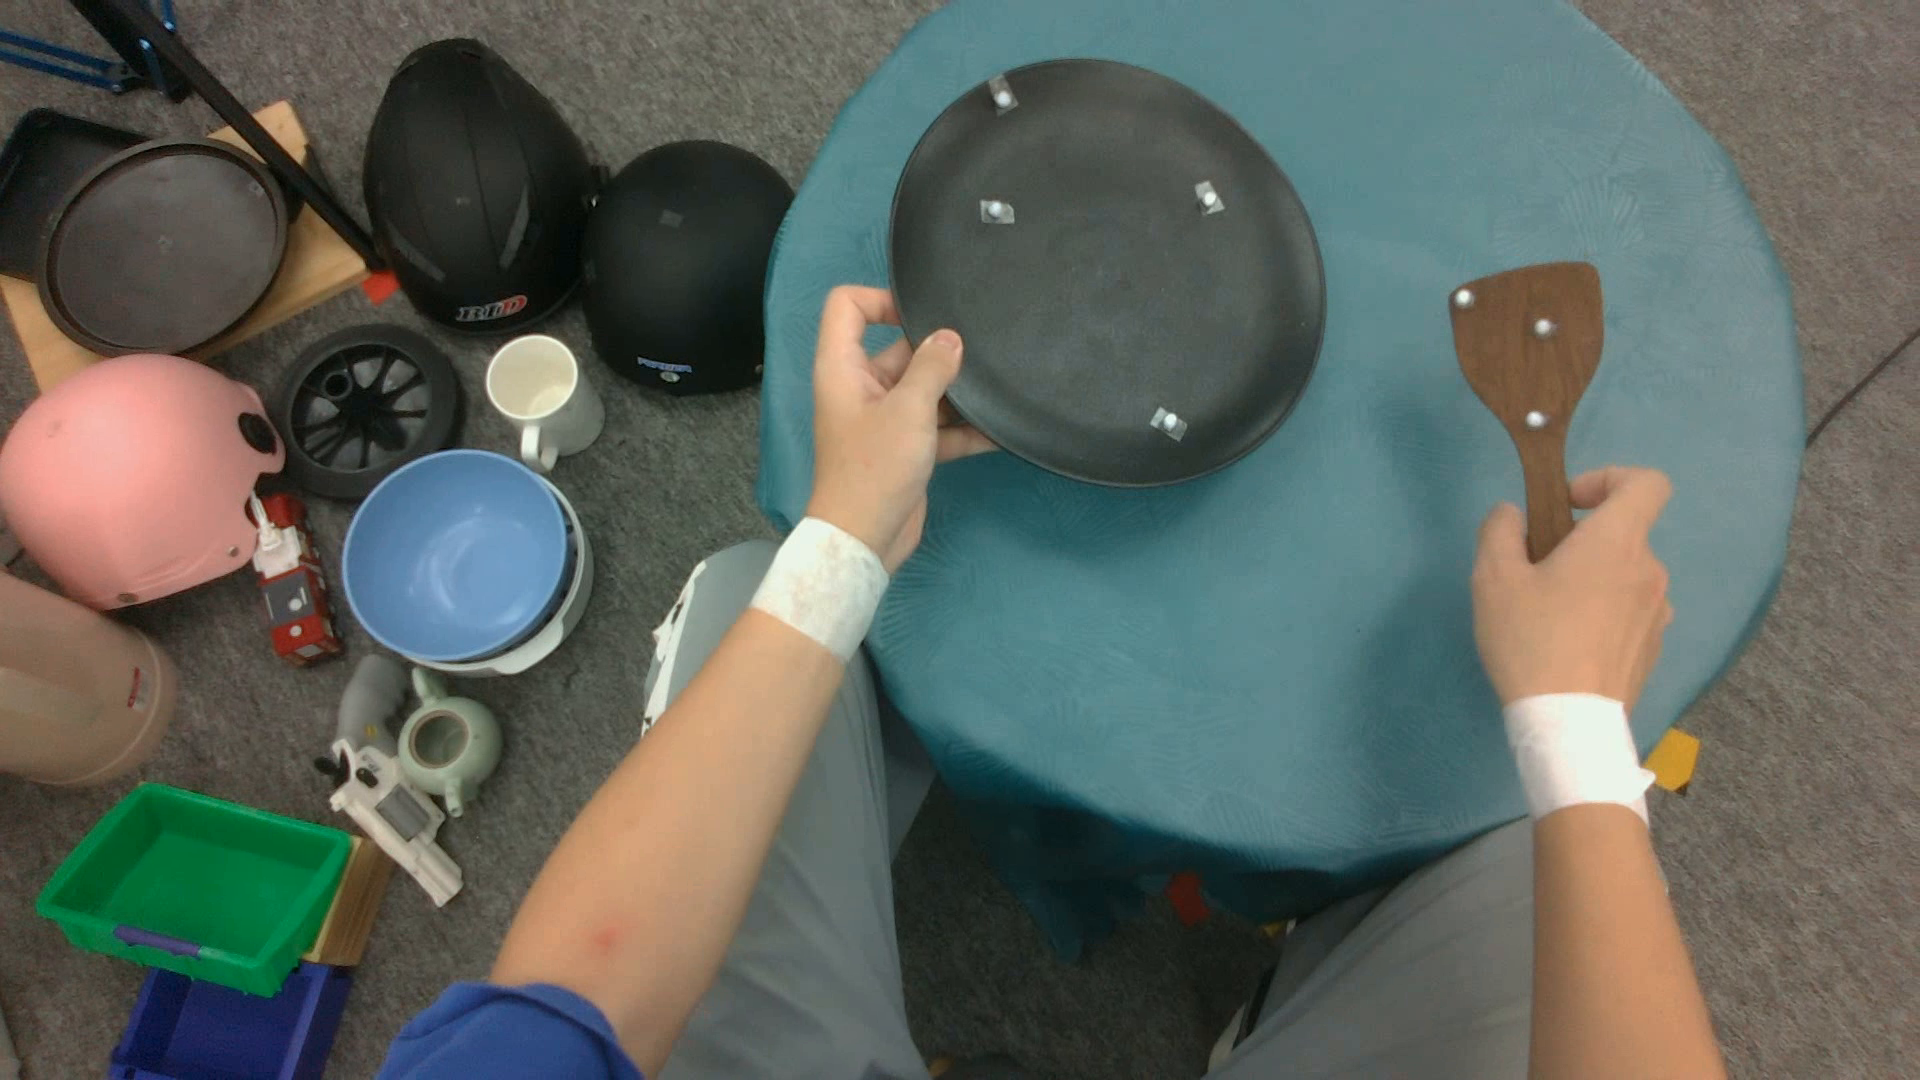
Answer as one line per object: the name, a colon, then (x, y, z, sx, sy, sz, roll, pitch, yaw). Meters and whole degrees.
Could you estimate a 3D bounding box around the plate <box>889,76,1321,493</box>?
plate: (0.080, -0.140, 0.749, 0.244, 0.023, 0.245, 3, 74, -12)

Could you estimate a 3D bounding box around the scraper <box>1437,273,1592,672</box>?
scraper: (0.296, -0.037, 0.710, 0.075, 0.011, 0.212, -8, 73, 22)
